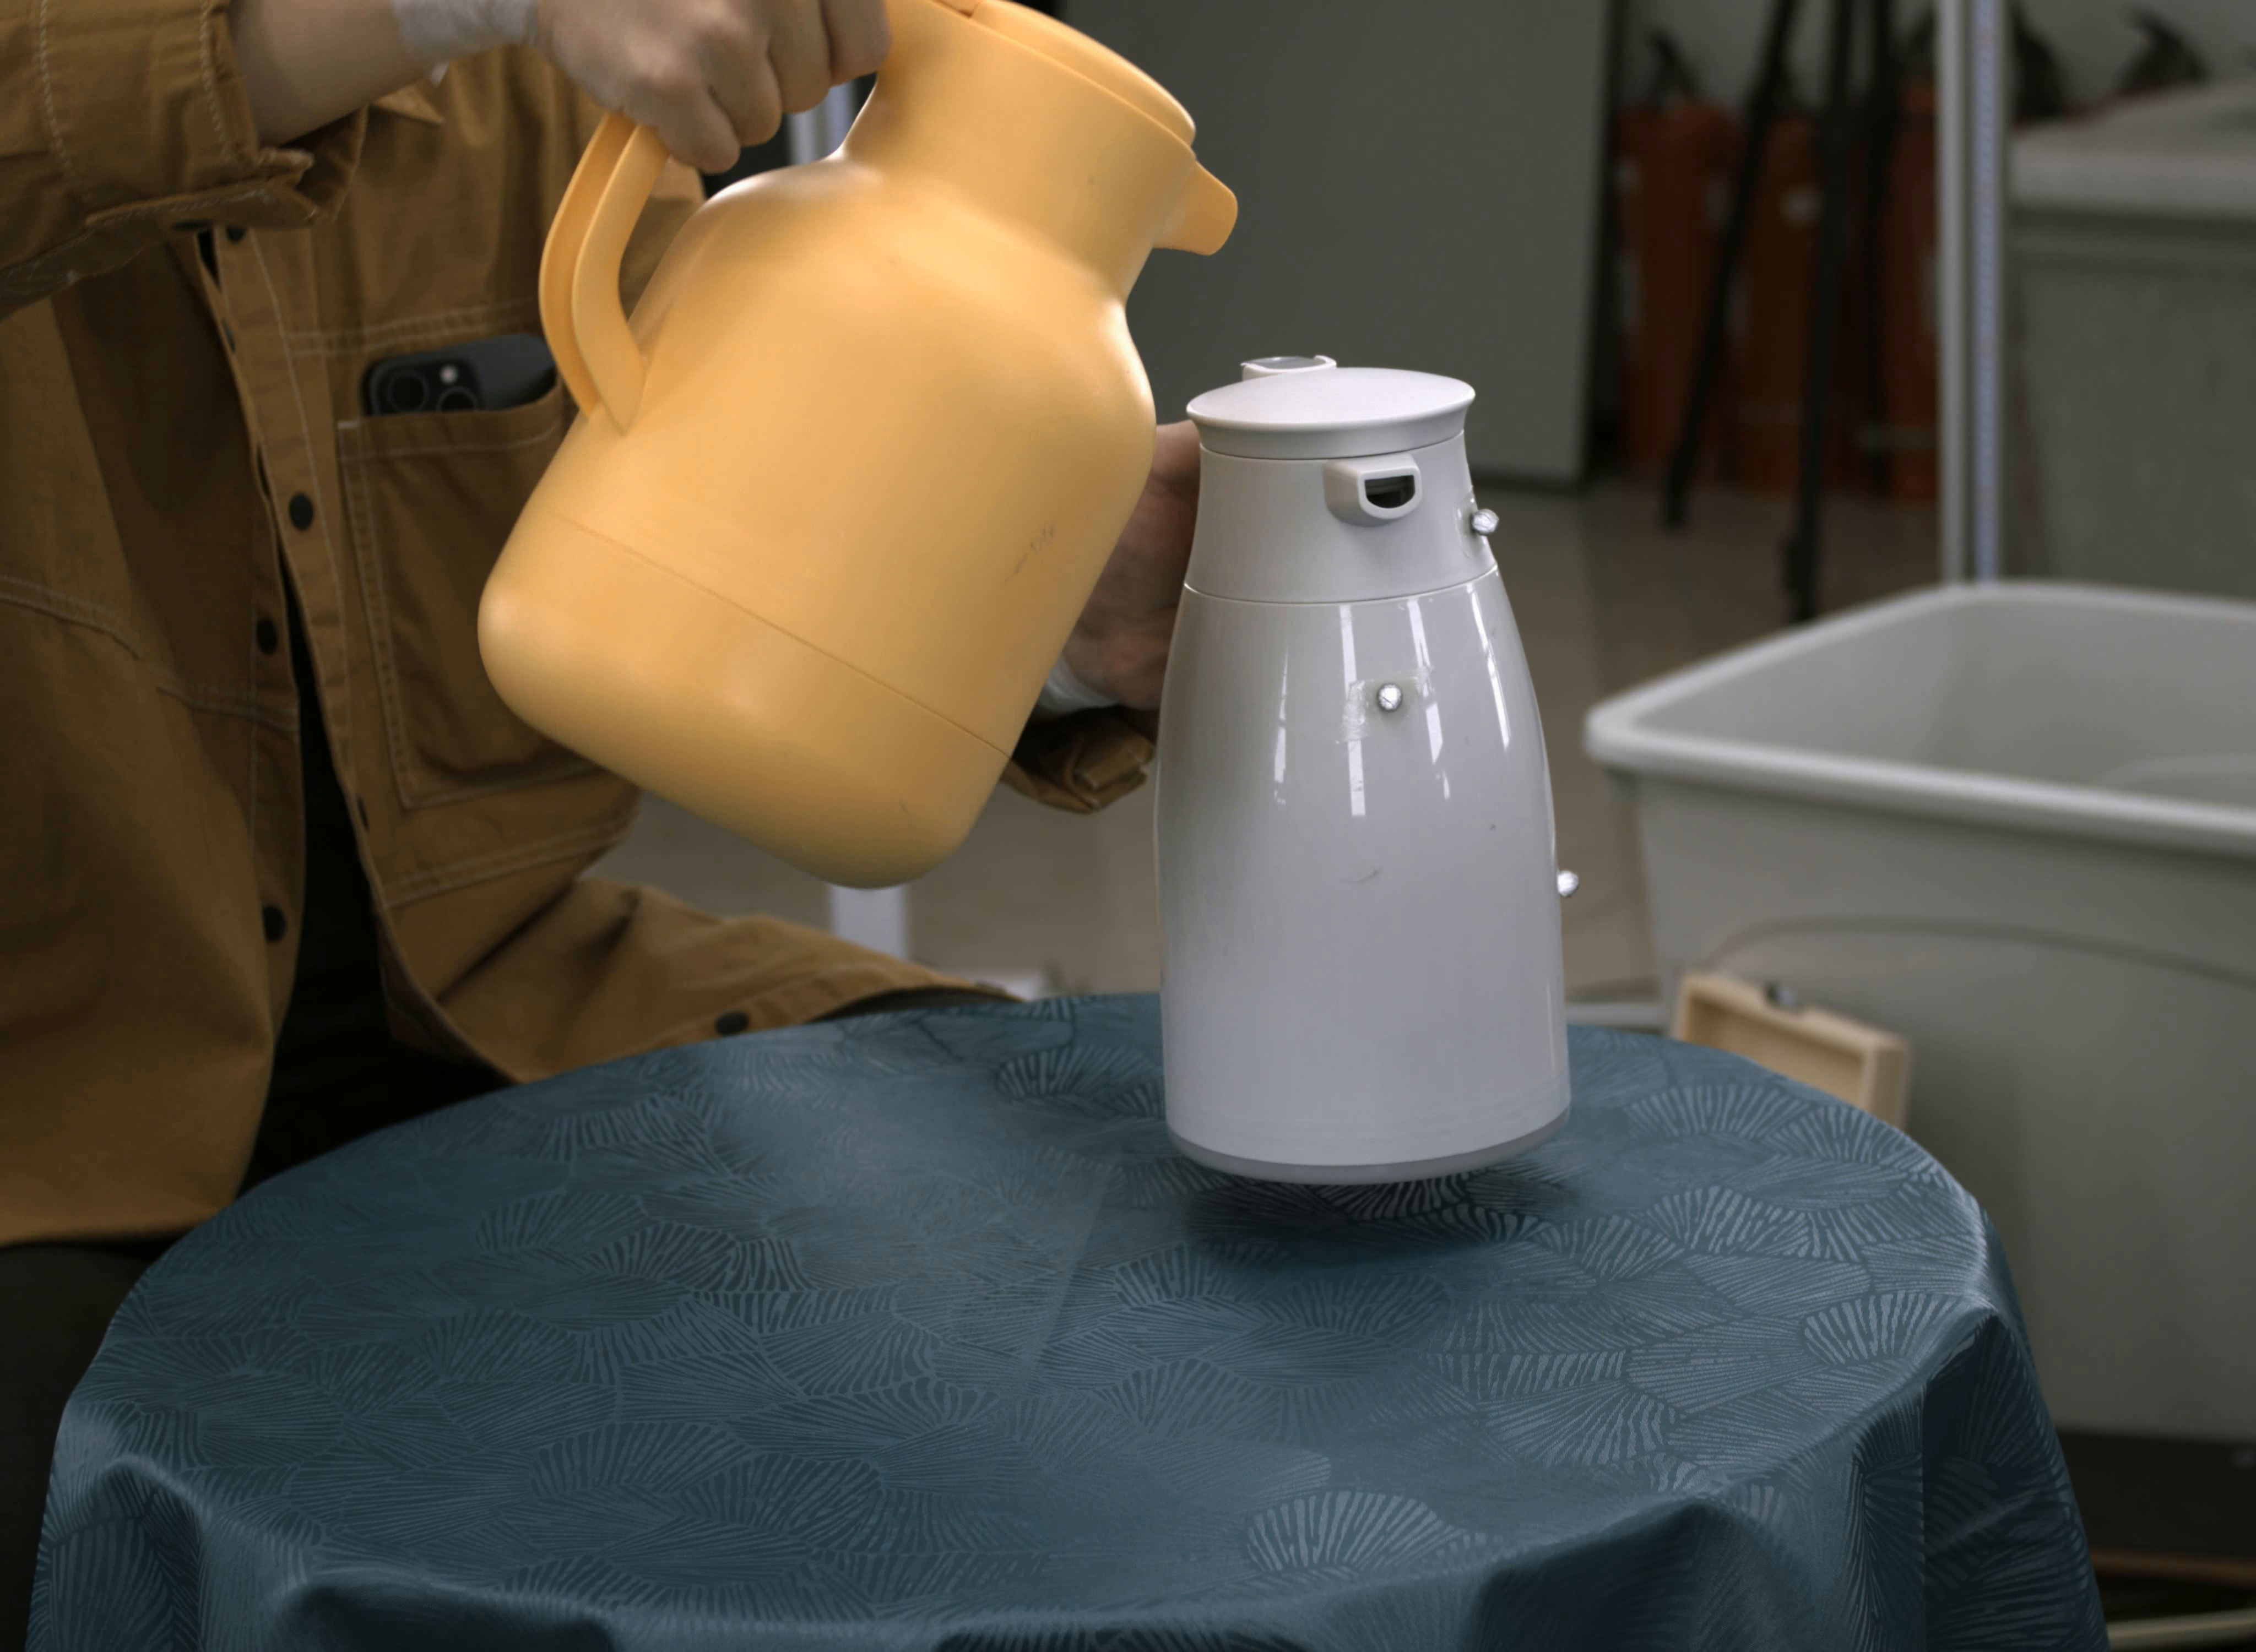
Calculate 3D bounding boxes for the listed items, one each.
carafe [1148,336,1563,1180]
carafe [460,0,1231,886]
[{"bbox_3d":[0.063,-0.029,1.735,0.130,0.251,0.169,-7,13,-13],"label":"carafe"},{"bbox_3d":[-0.093,-0.133,1.604,0.199,0.262,0.165,30,-2,-30],"label":"carafe"}]
